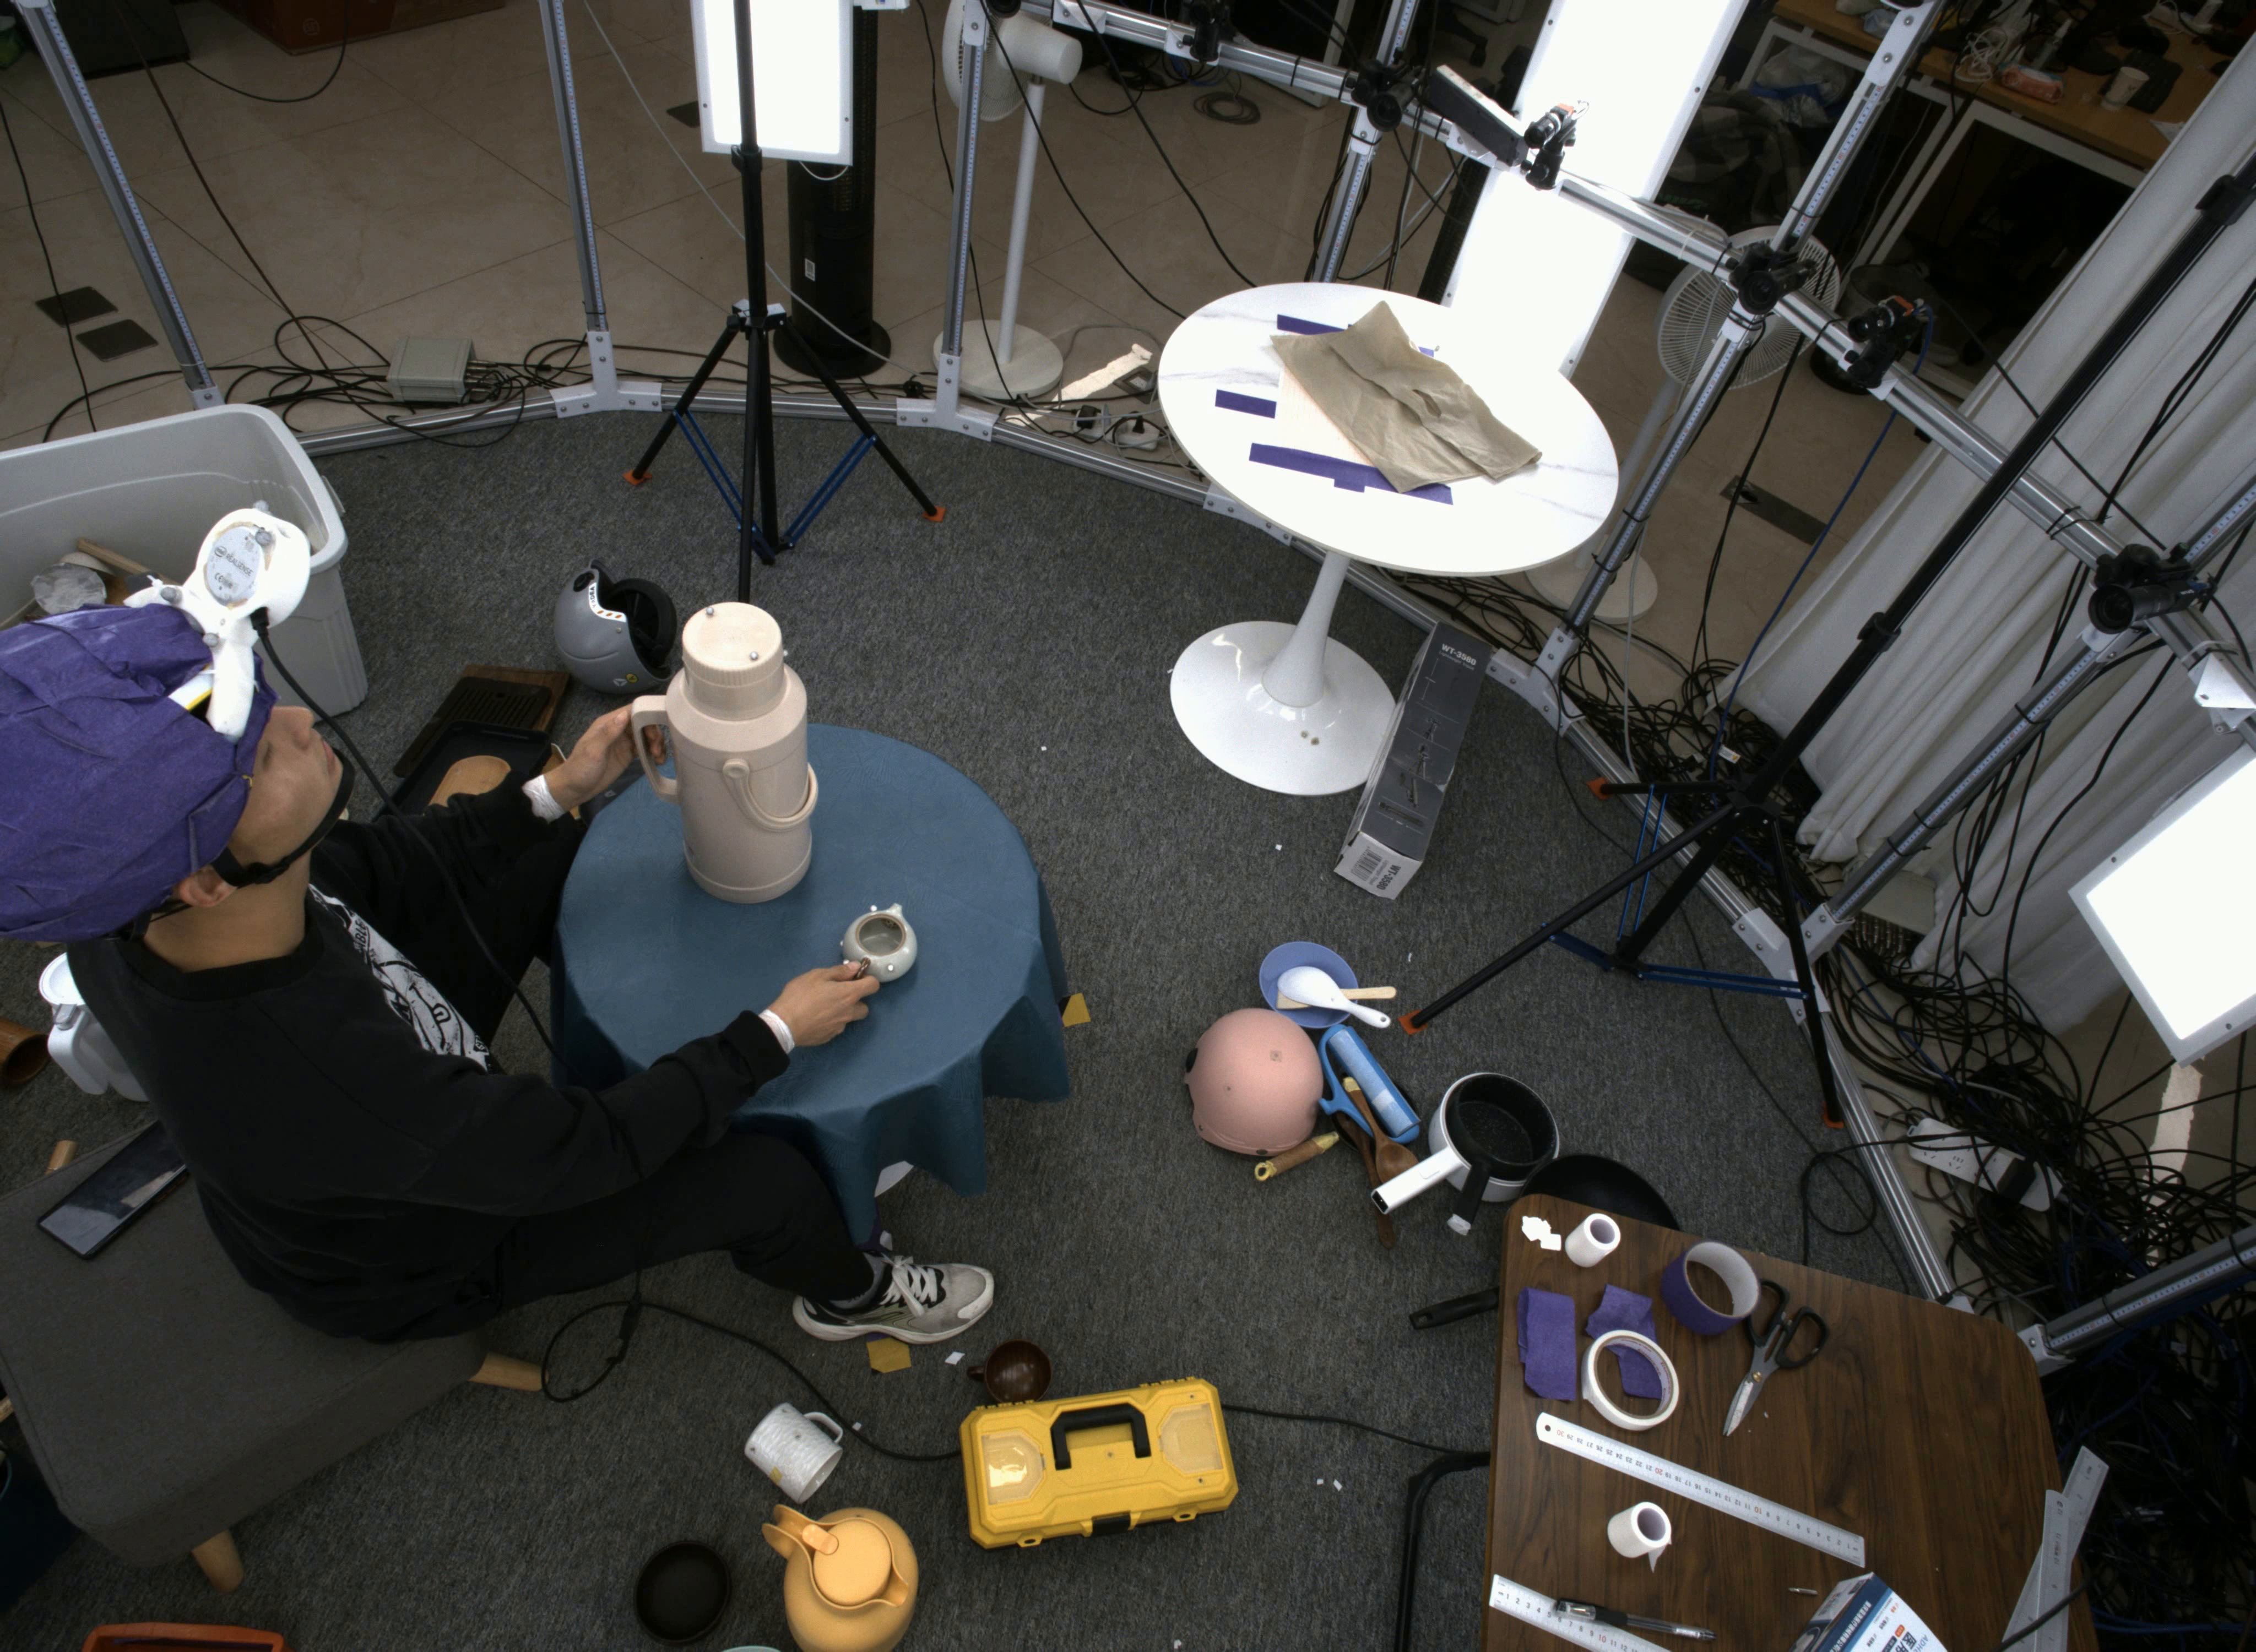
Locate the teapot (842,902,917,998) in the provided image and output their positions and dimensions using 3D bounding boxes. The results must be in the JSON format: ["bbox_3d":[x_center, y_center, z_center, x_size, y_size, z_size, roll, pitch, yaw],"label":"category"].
[{"bbox_3d":[-0.309,0.154,1.598,0.091,0.060,0.126,22,50,-1],"label":"teapot"}]

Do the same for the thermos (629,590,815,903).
[{"bbox_3d":[-0.475,-0.090,1.519,0.207,0.414,0.171,-3,54,-15],"label":"thermos"}]
